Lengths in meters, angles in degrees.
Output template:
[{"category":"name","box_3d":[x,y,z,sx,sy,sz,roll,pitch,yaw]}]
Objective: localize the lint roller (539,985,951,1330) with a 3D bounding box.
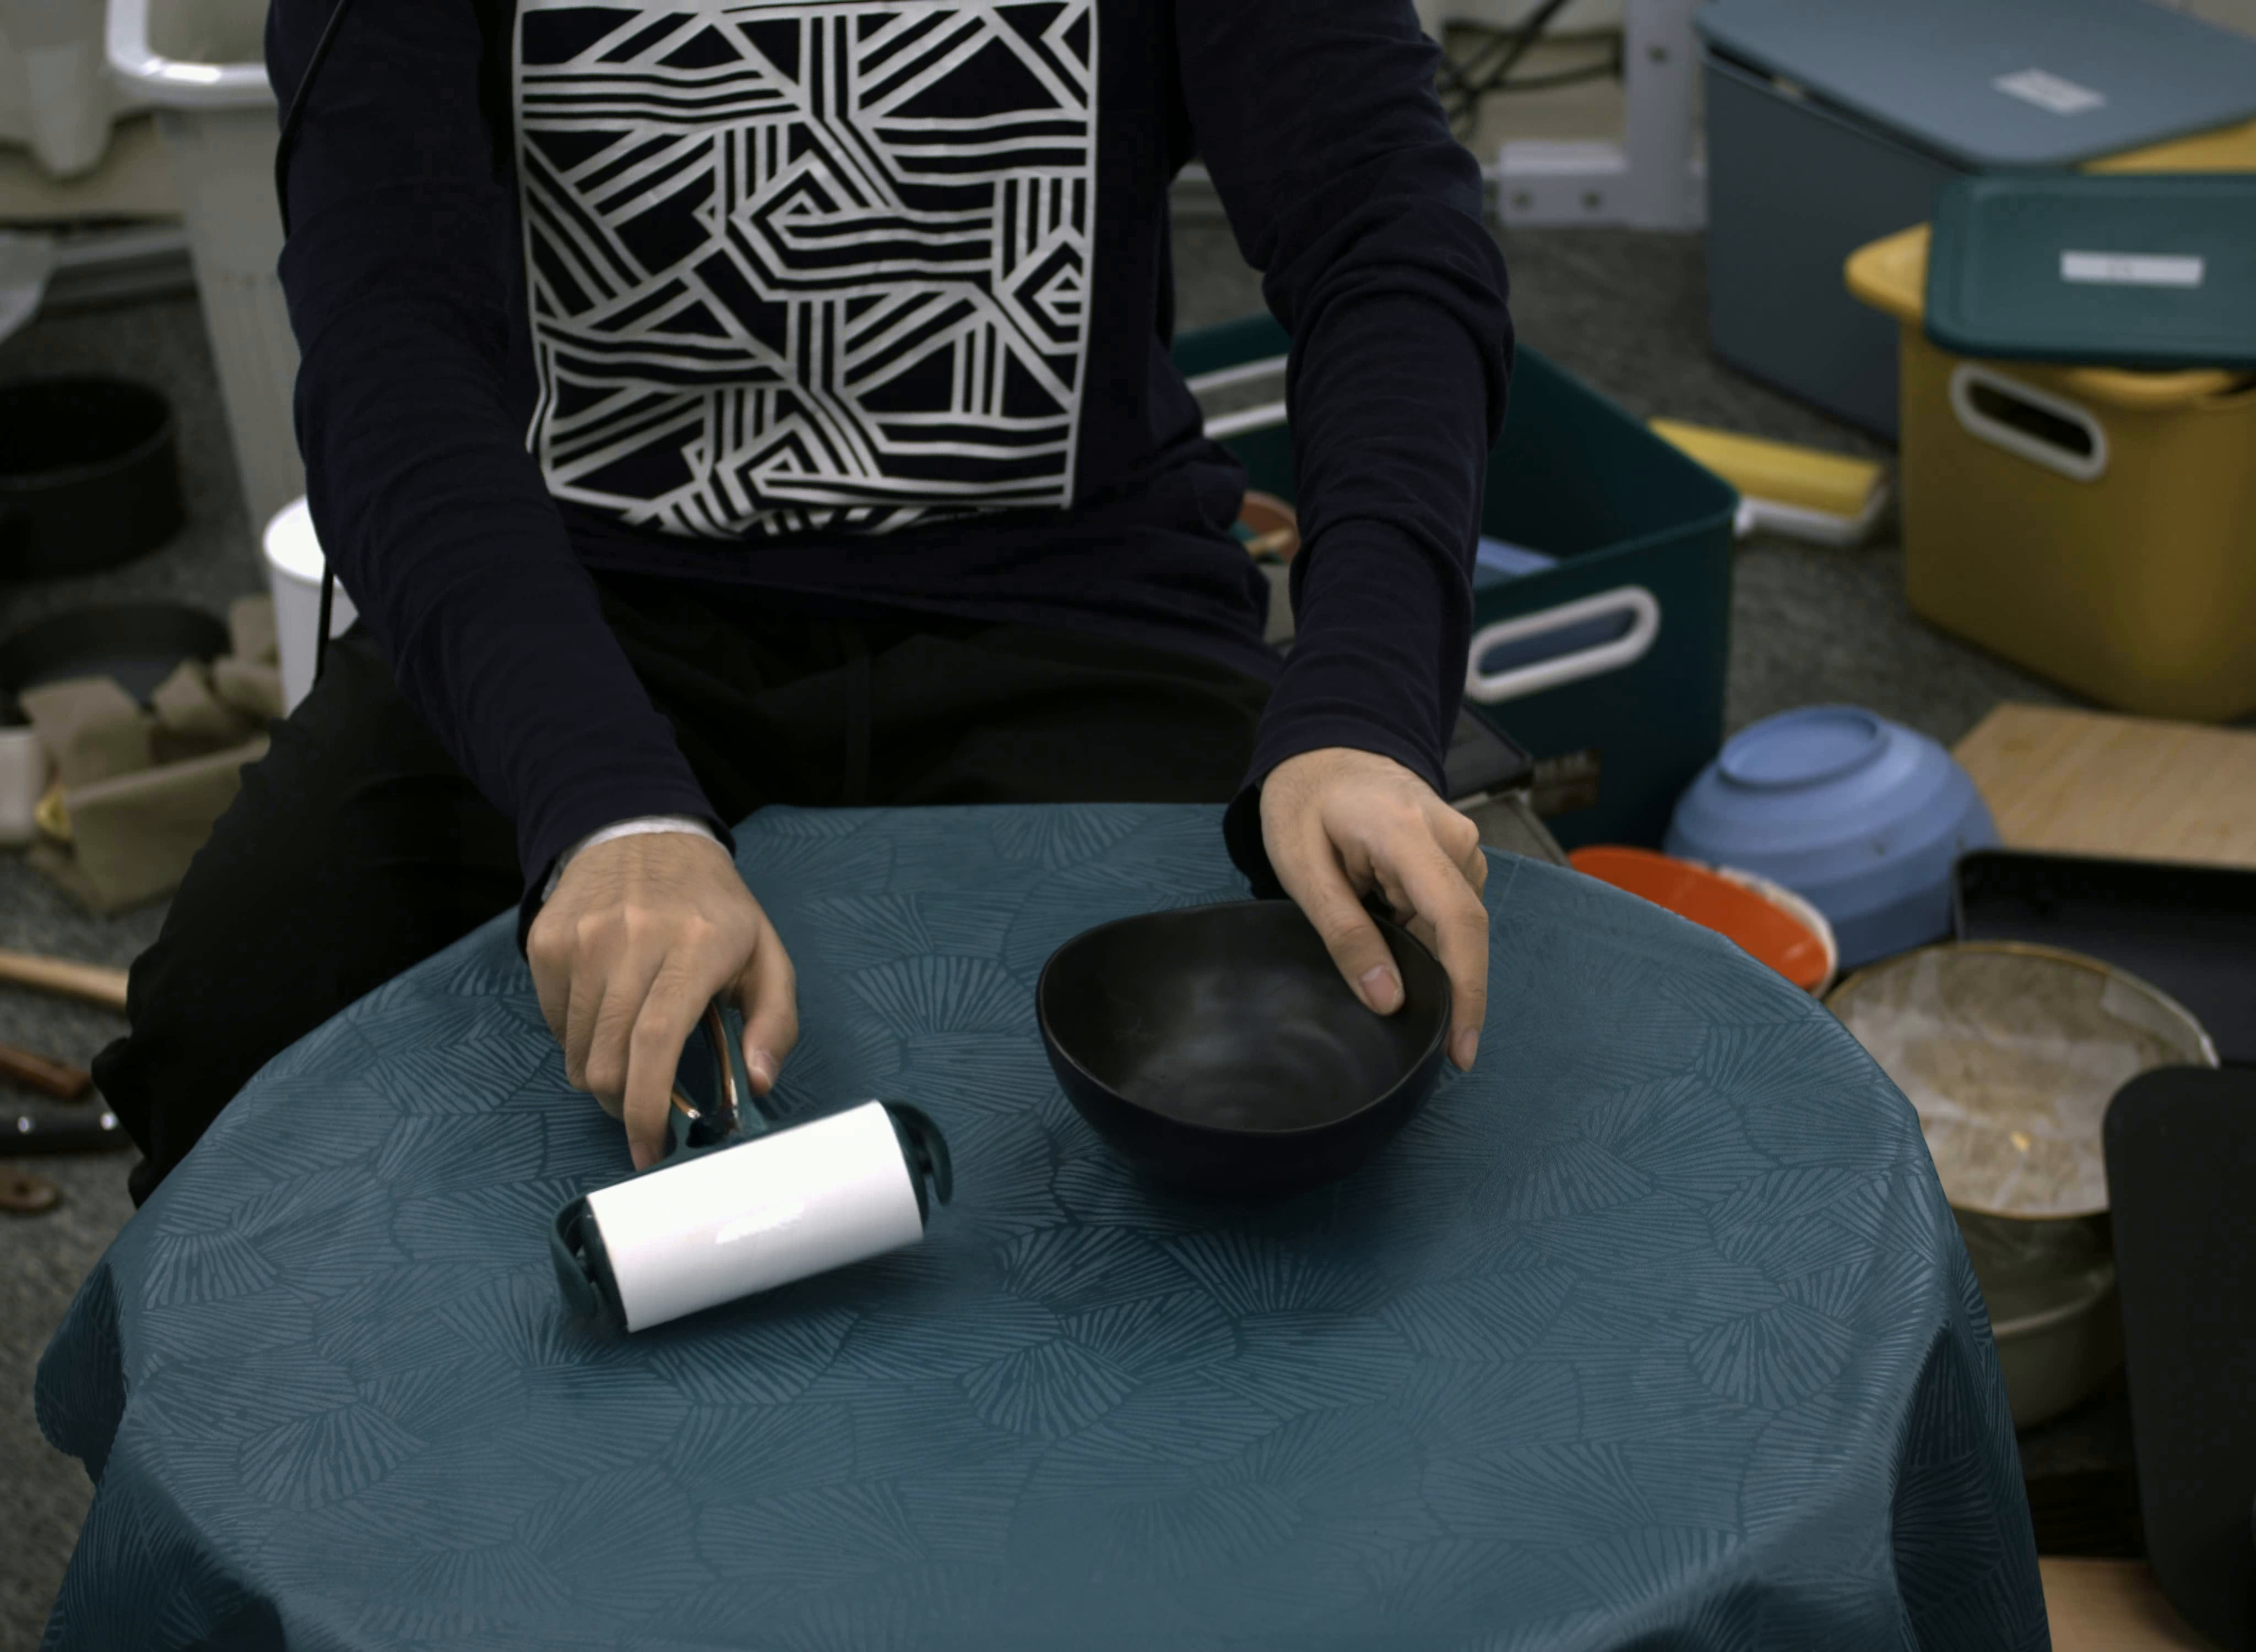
[{"category":"lint roller","box_3d":[-0.142,0.088,1.853,0.134,0.048,0.182,-19,36,-9]}]

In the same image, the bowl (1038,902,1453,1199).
[{"category":"bowl","box_3d":[0.039,0.081,1.868,0.137,0.066,0.172,-7,26,-8]}]
